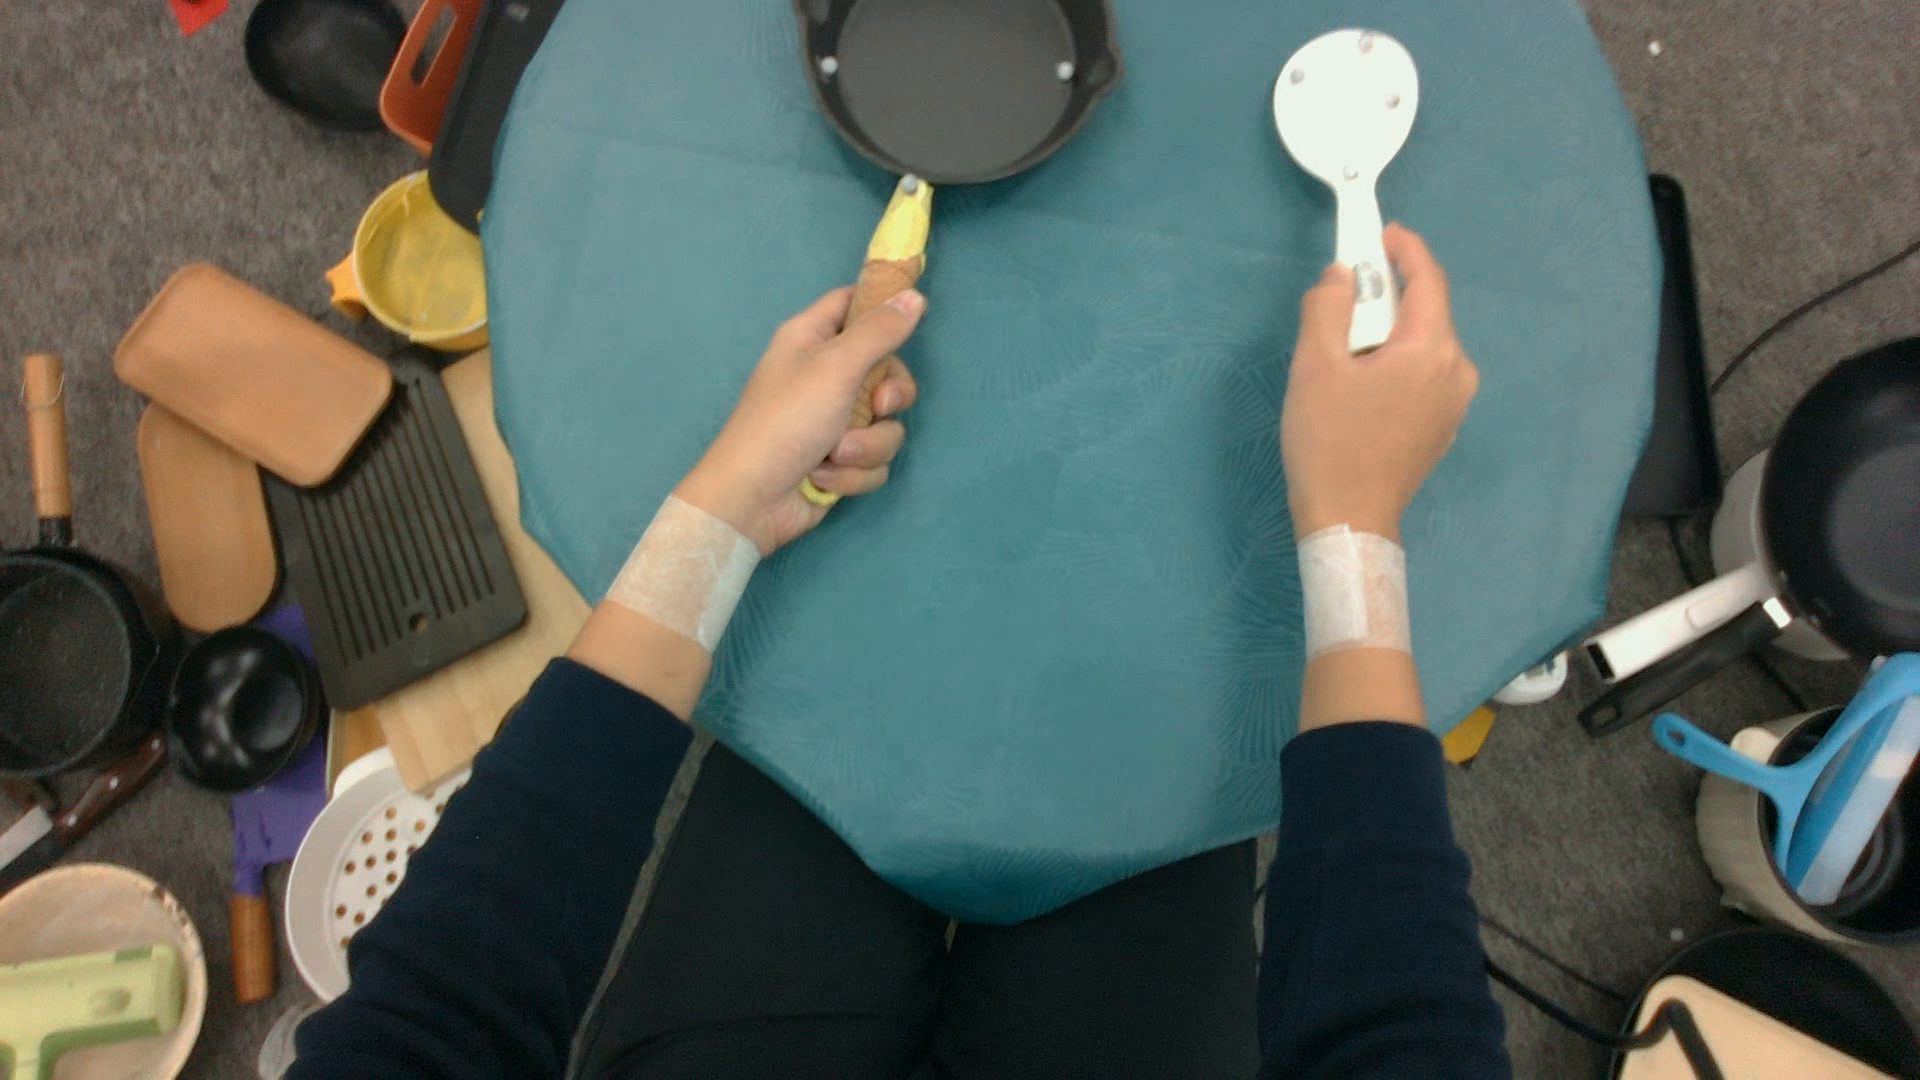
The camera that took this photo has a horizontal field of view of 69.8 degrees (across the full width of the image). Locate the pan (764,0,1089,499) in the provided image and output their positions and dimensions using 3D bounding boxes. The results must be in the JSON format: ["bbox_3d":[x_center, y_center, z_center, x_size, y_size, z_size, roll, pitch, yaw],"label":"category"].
[{"bbox_3d":[-0.040,-0.171,0.684,0.169,0.049,0.325,16,77,1],"label":"pan"}]

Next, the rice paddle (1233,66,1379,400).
[{"bbox_3d":[0.177,-0.163,0.684,0.068,0.029,0.206,-7,62,12],"label":"rice paddle"}]
